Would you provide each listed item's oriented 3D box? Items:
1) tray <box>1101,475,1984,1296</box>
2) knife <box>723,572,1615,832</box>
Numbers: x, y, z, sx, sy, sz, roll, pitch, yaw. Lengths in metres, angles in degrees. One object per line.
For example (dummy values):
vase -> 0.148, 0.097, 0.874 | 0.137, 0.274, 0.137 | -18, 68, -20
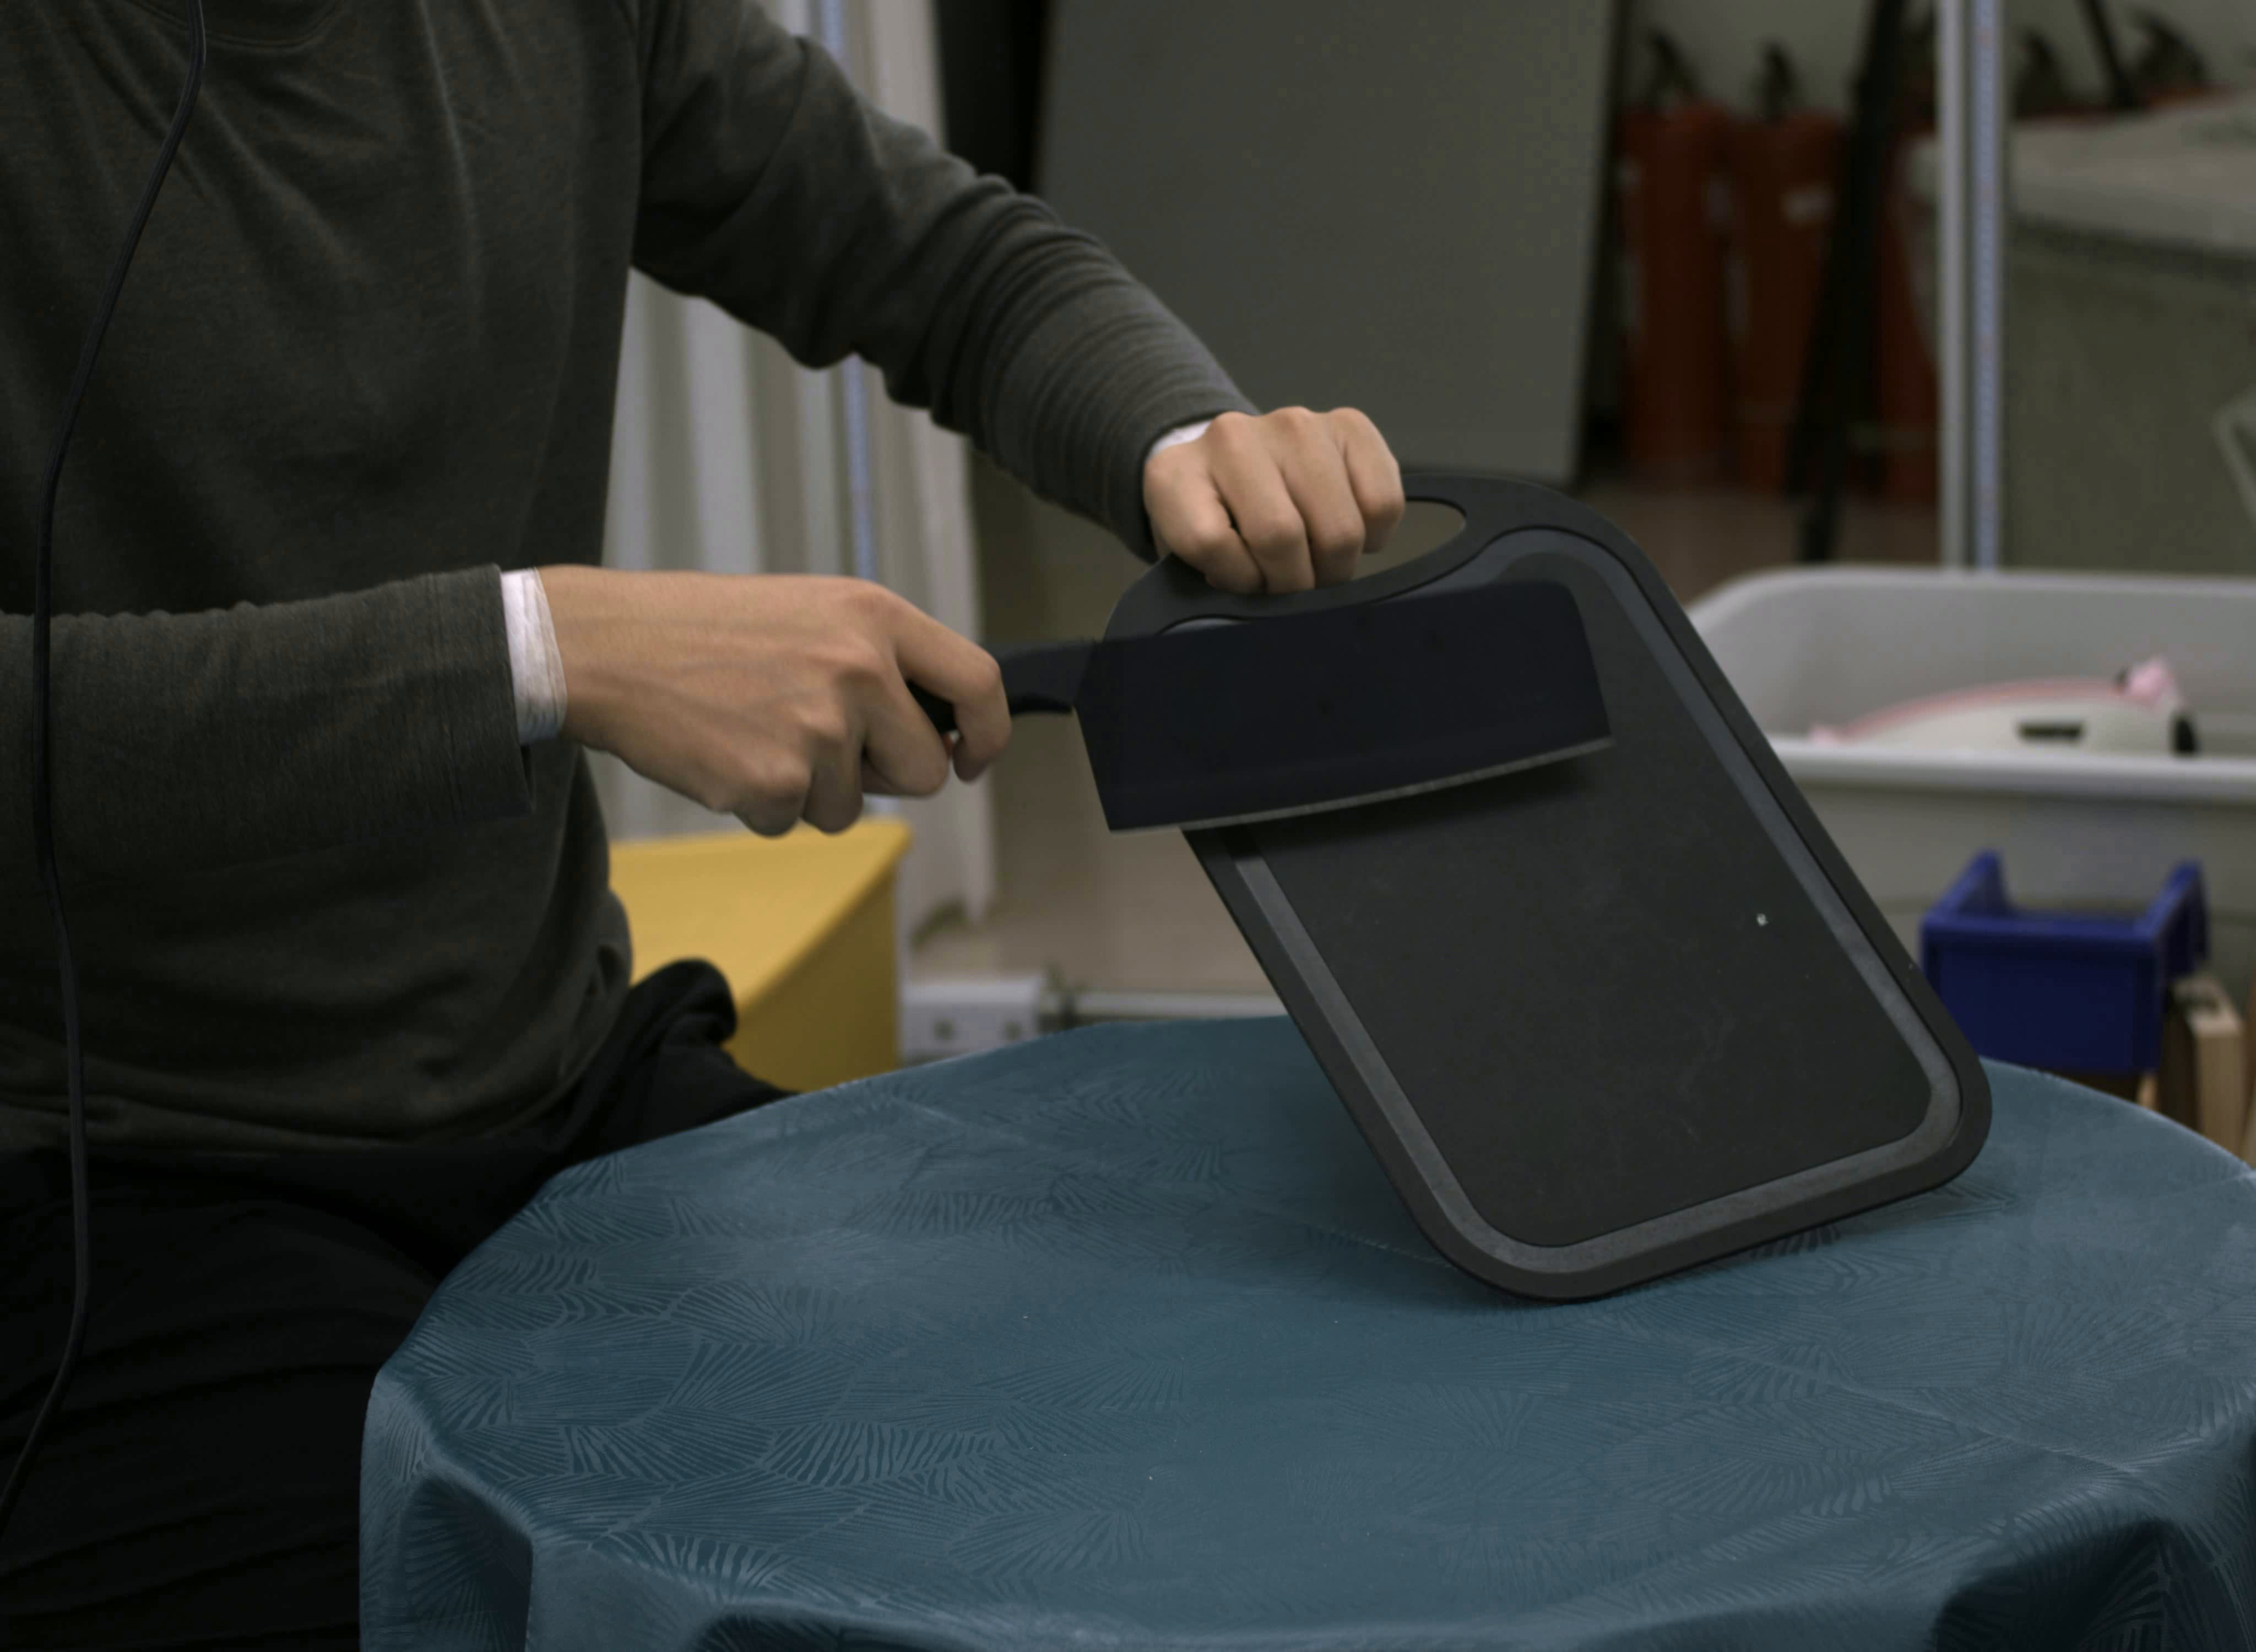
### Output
tray -> 0.128, 0.007, 1.746 | 0.207, 0.010, 0.330 | -15, 55, -22
knife -> 0.015, -0.035, 1.730 | 0.296, 0.082, 0.021 | -5, -20, -16
